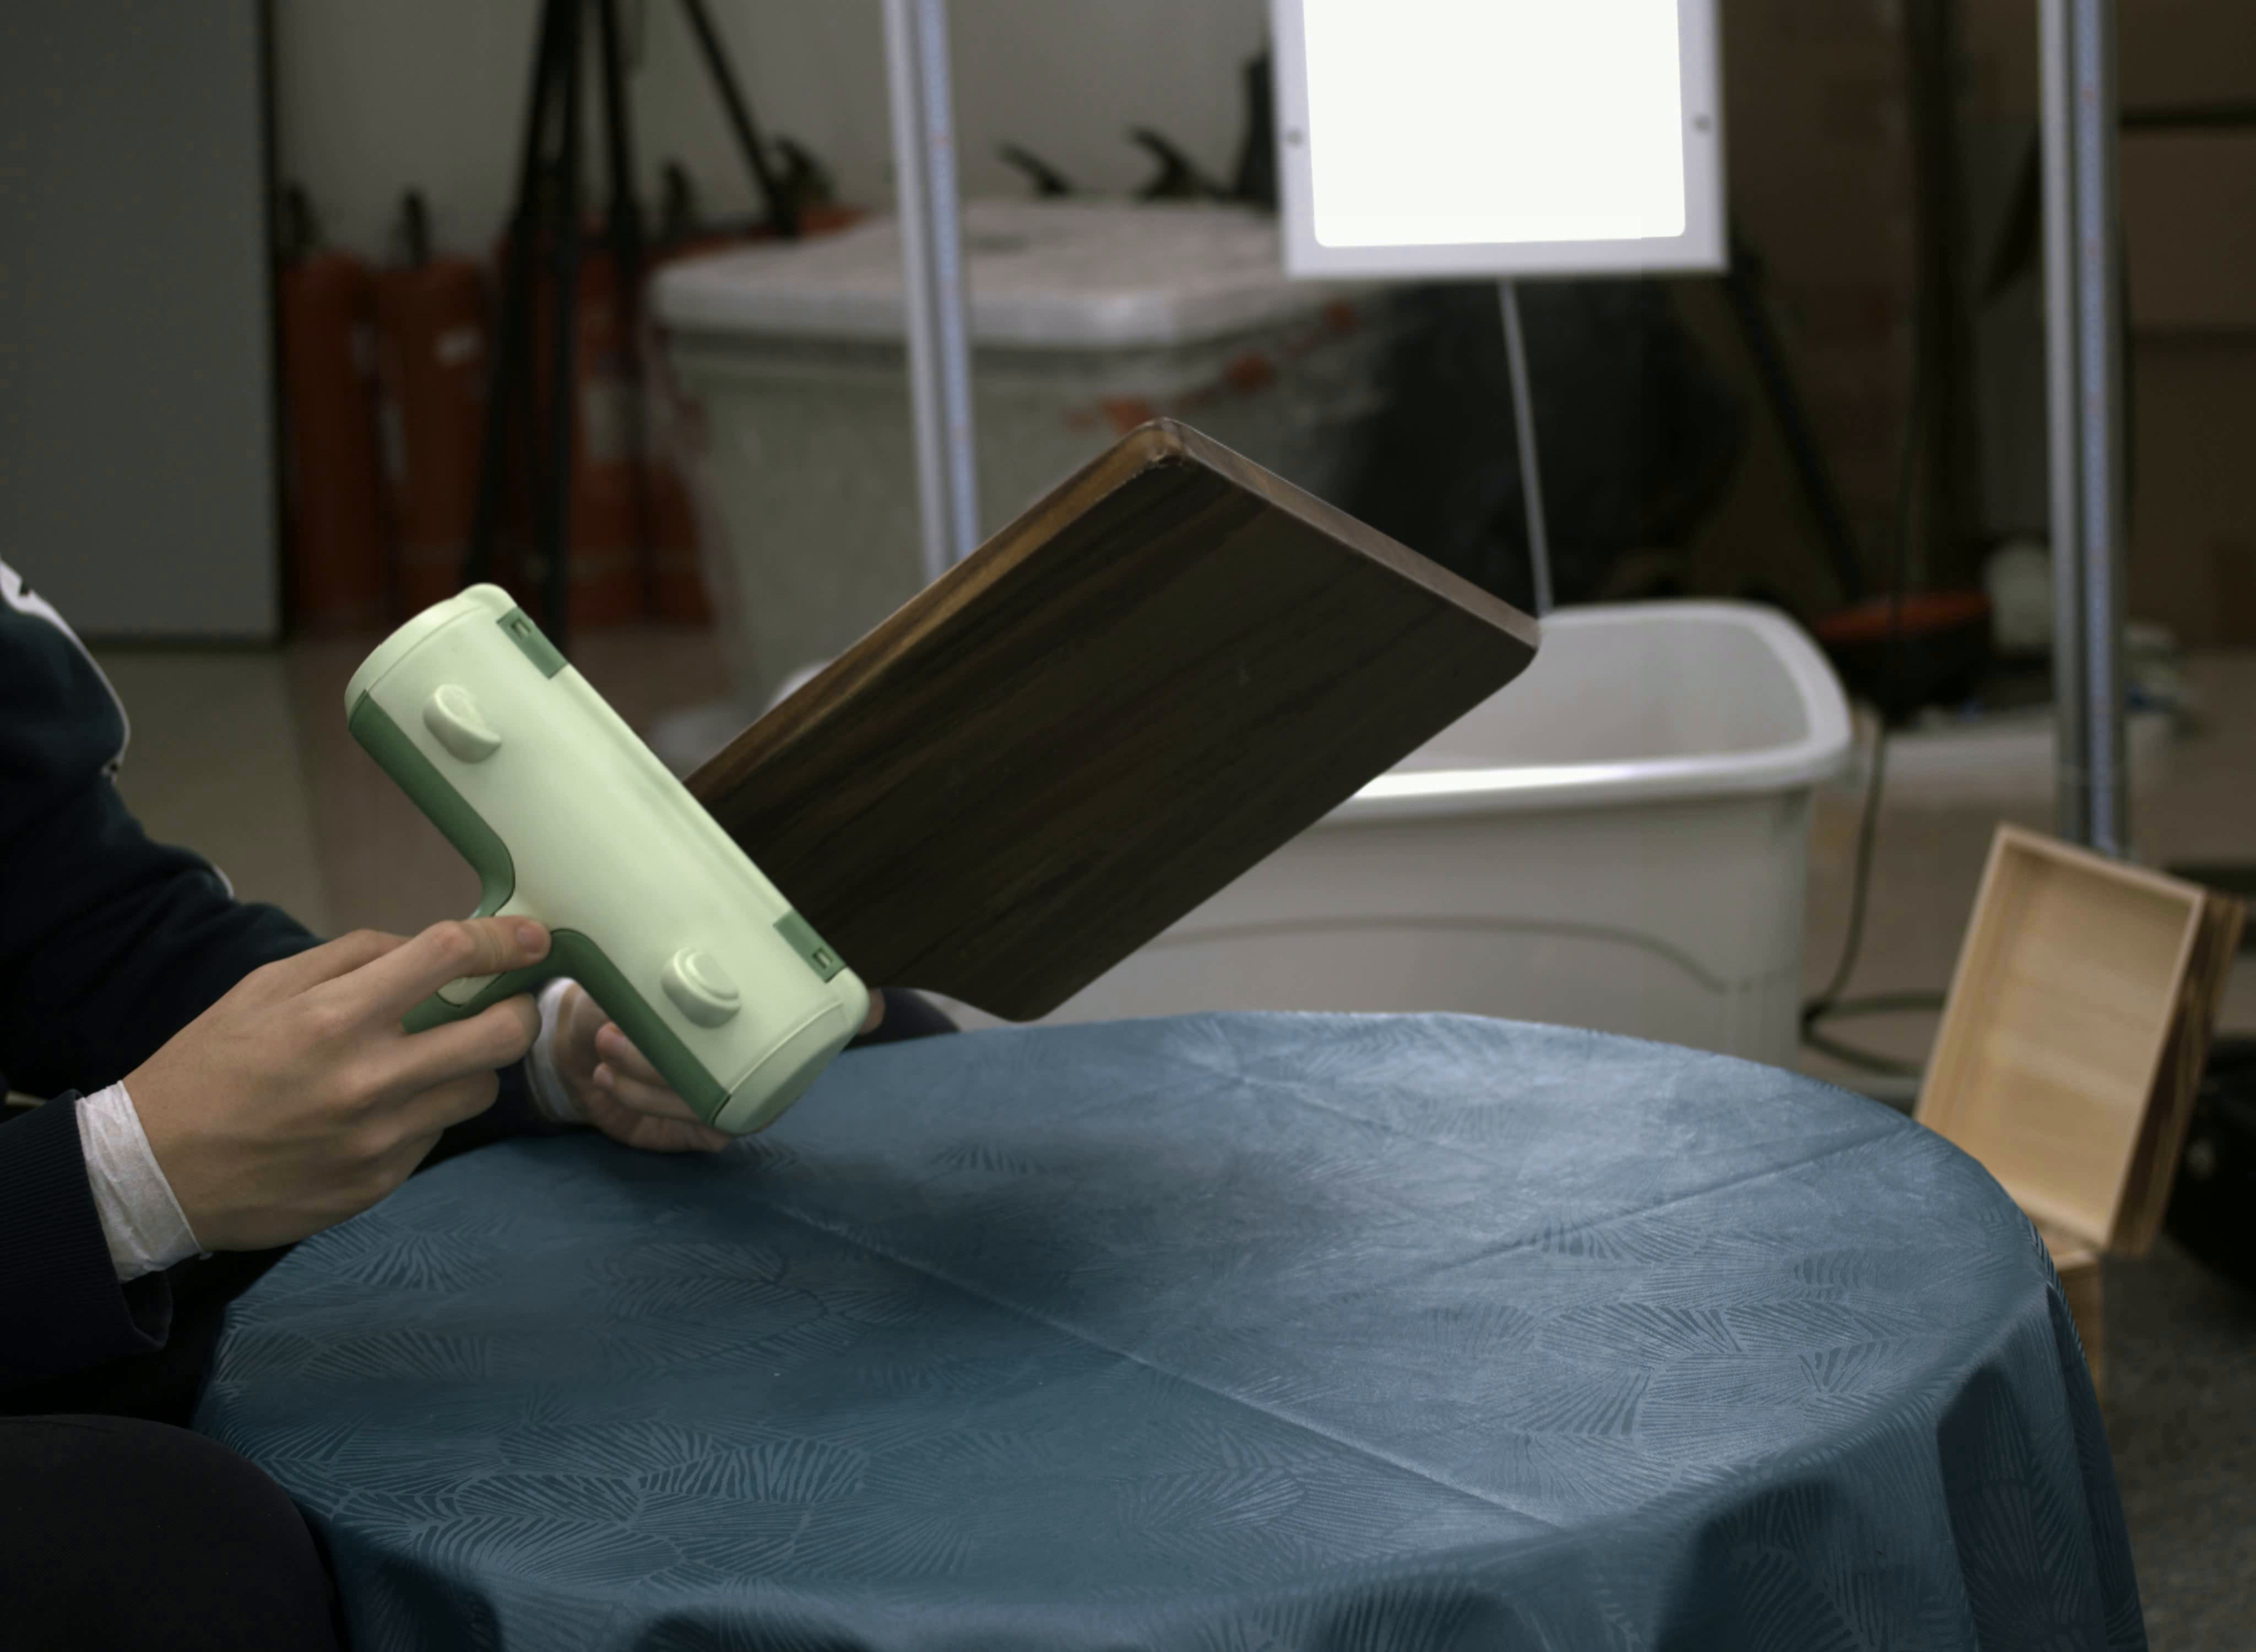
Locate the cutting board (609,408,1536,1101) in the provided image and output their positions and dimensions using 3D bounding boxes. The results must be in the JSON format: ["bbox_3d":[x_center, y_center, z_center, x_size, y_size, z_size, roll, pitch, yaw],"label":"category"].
[{"bbox_3d":[-0.049,-0.003,1.870,0.358,0.023,0.197,-37,-42,28],"label":"cutting board"}]

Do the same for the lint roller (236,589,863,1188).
[{"bbox_3d":[-0.213,0.047,1.764,0.181,0.199,0.082,-40,-10,-14],"label":"lint roller"}]
